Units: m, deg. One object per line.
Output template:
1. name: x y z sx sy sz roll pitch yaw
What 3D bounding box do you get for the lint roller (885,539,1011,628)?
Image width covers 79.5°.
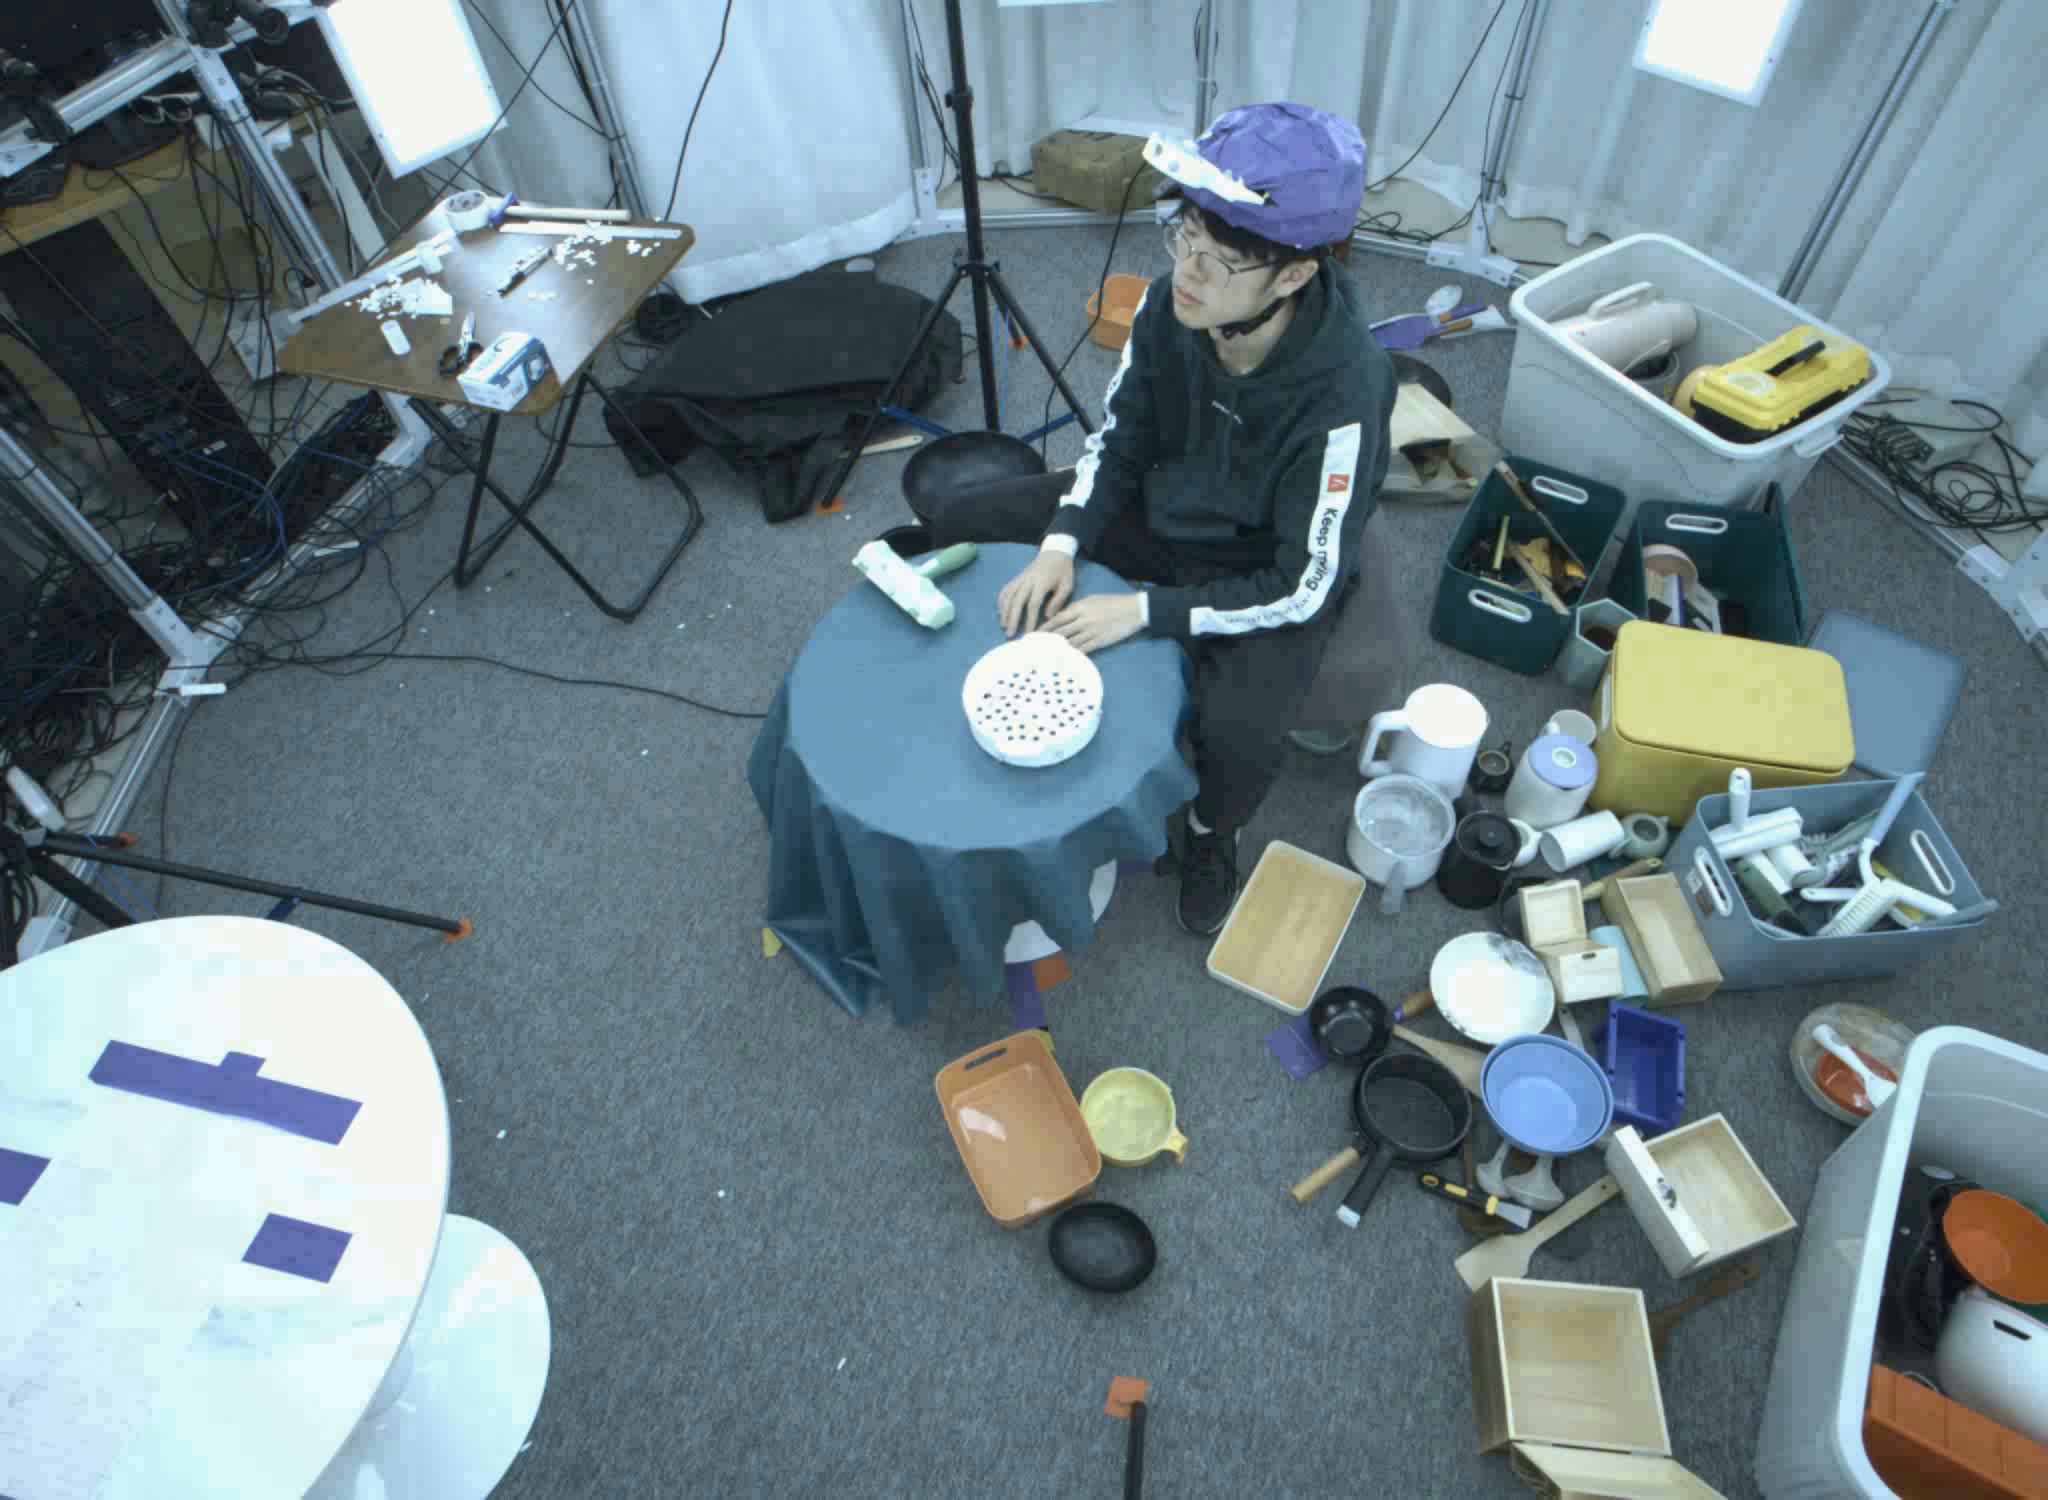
1. lint roller: -0.098 -0.300 1.951 0.184 0.083 0.195 -37 61 -17

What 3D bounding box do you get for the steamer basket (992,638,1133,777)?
1. steamer basket: 0.056 -0.056 1.778 0.200 0.070 0.229 8 57 9
